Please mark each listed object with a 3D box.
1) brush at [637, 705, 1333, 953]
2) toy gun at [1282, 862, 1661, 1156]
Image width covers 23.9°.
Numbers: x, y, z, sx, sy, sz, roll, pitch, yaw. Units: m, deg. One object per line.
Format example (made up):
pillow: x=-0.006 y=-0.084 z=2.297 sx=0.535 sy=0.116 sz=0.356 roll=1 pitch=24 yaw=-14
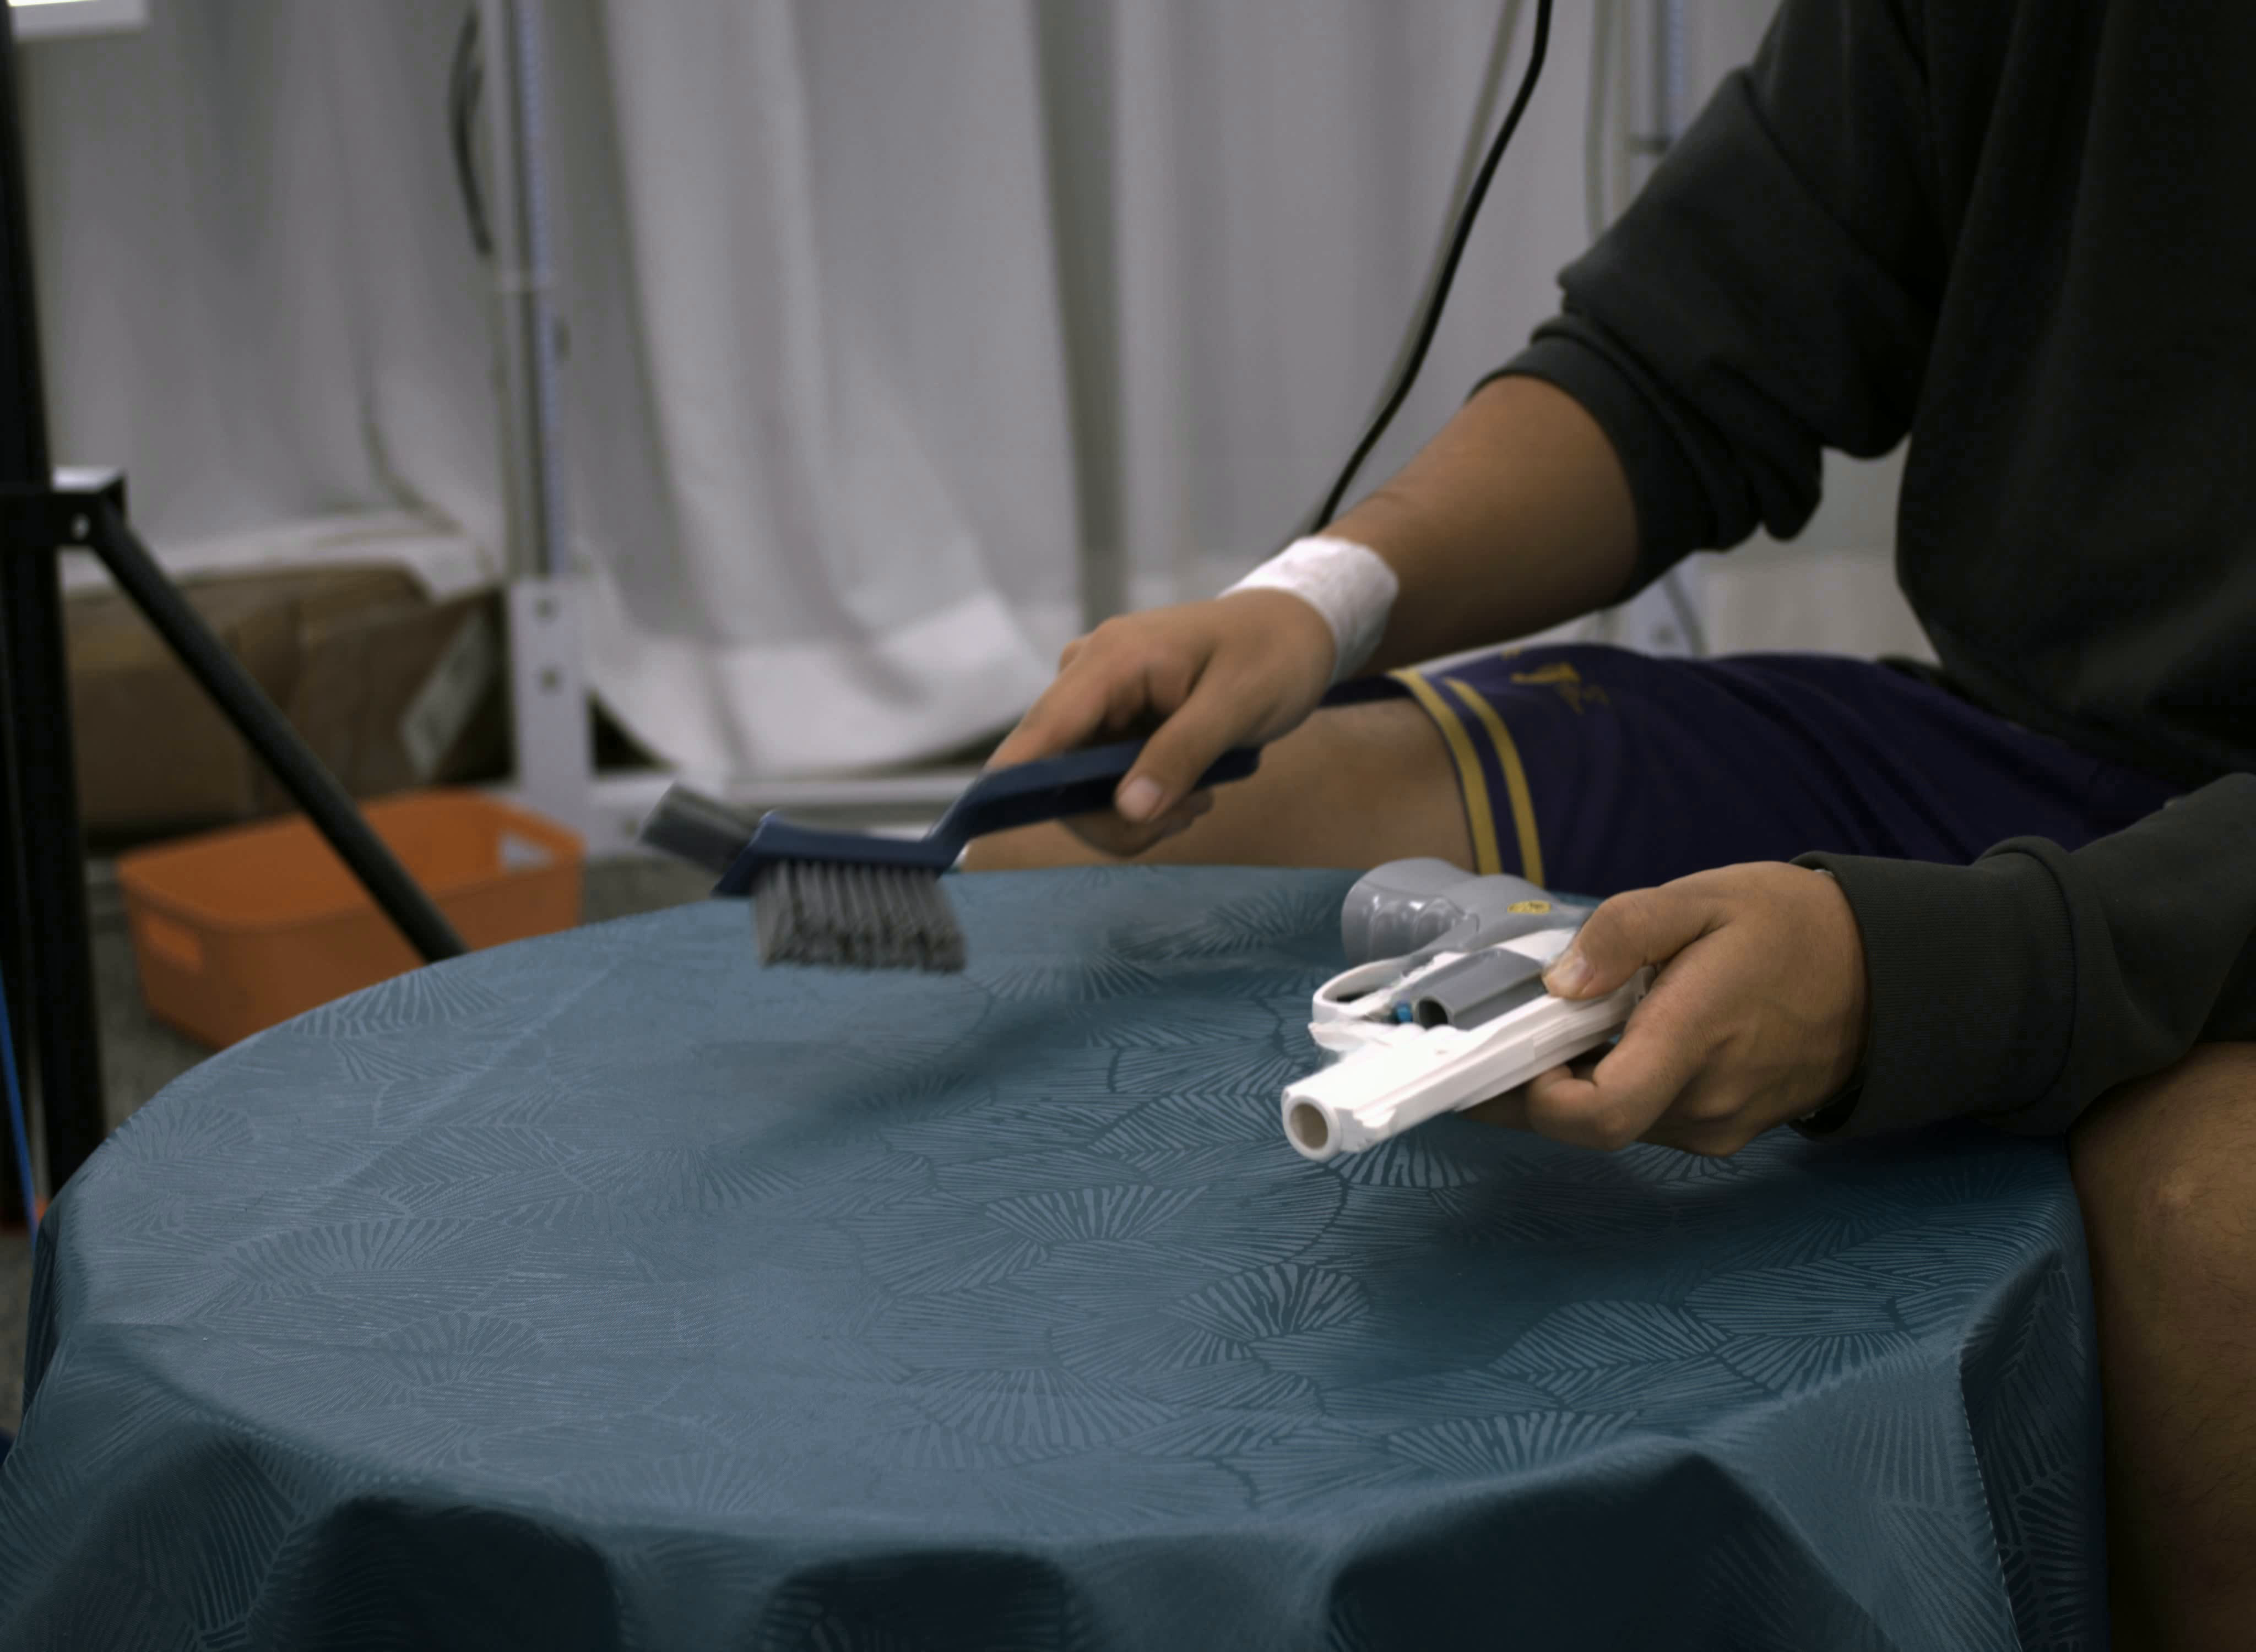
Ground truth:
brush: x=-0.038 y=-0.016 z=1.734 sx=0.097 sy=0.034 sz=0.267 roll=47 pitch=39 yaw=17
toy gun: x=0.081 y=0.051 z=1.529 sx=0.145 sy=0.039 sz=0.204 roll=3 pitch=17 yaw=42
